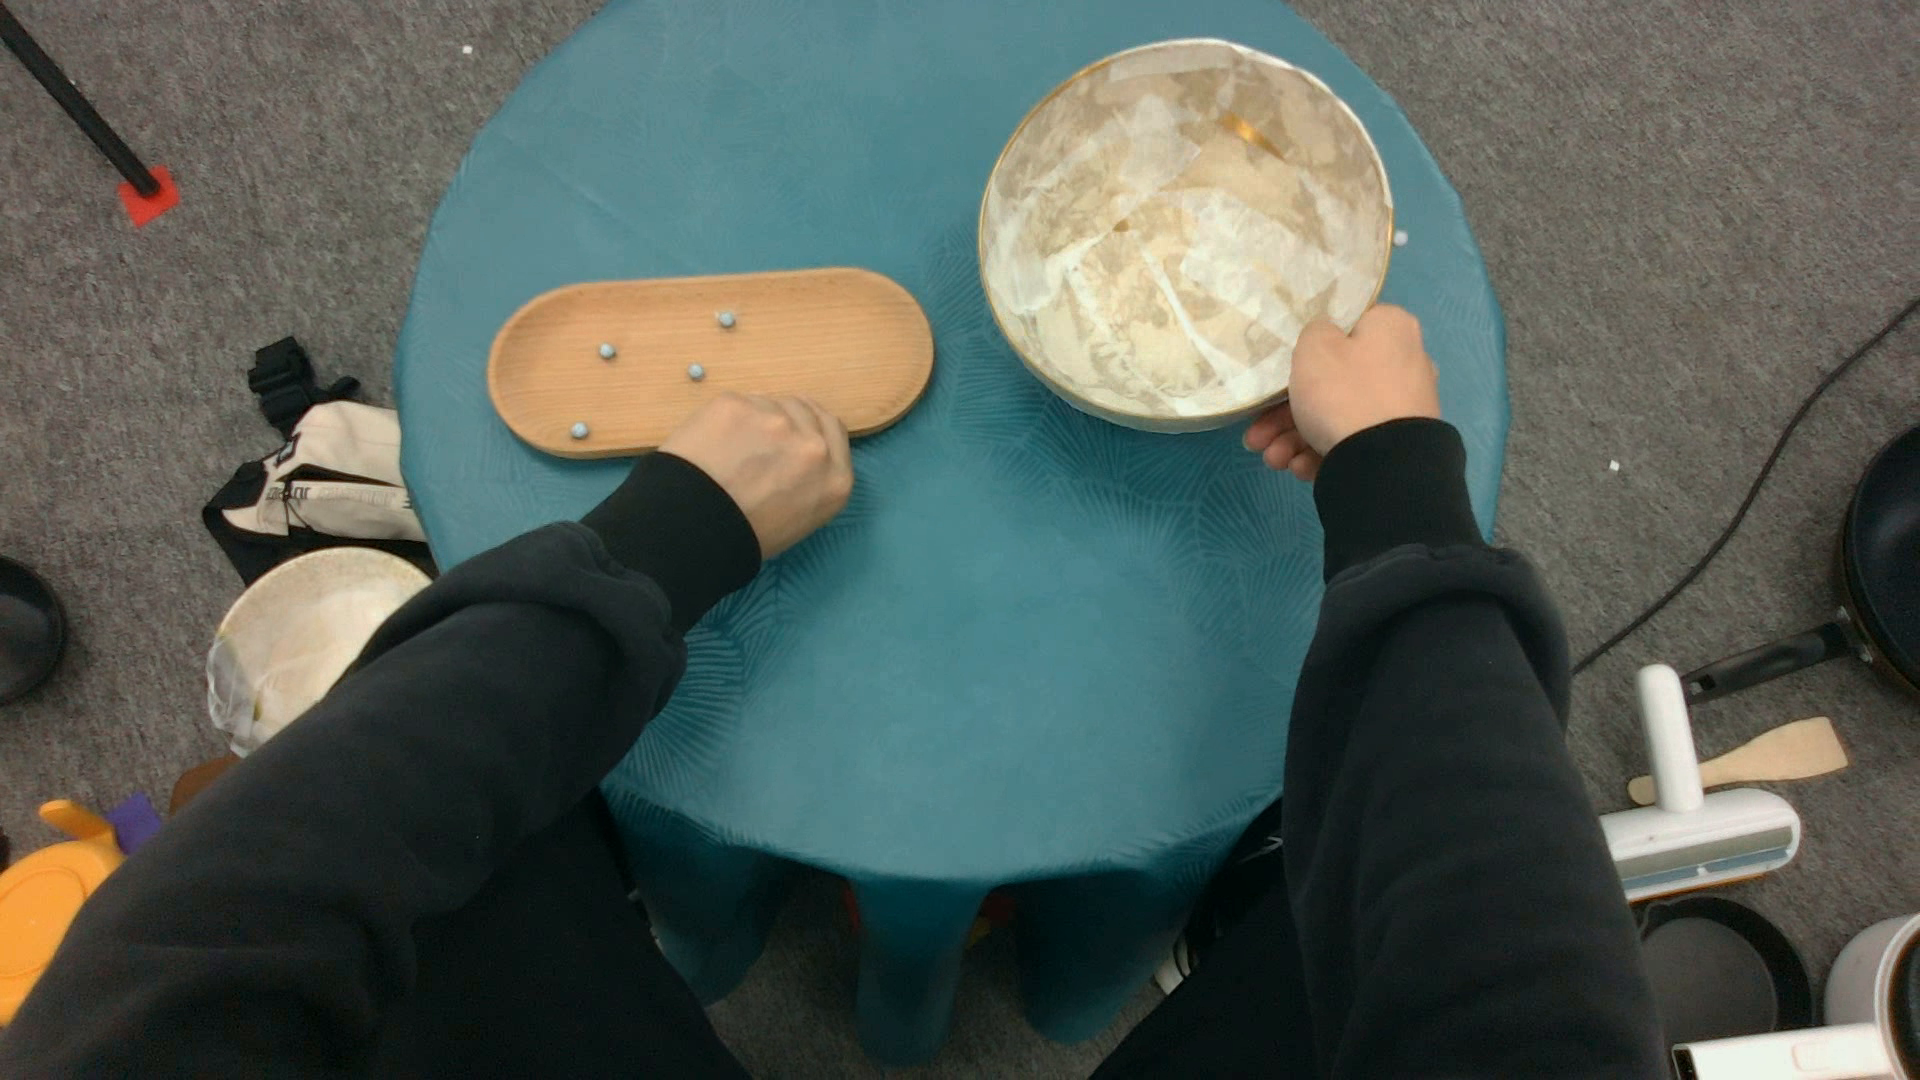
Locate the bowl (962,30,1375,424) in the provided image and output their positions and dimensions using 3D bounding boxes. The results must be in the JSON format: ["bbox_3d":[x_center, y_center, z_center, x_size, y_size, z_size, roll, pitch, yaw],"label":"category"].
[{"bbox_3d":[0.103,-0.148,0.716,0.214,0.094,0.215,-1,78,7],"label":"bowl"}]

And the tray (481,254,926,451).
[{"bbox_3d":[-0.133,-0.100,0.729,0.231,0.020,0.102,-6,70,-8],"label":"tray"}]
